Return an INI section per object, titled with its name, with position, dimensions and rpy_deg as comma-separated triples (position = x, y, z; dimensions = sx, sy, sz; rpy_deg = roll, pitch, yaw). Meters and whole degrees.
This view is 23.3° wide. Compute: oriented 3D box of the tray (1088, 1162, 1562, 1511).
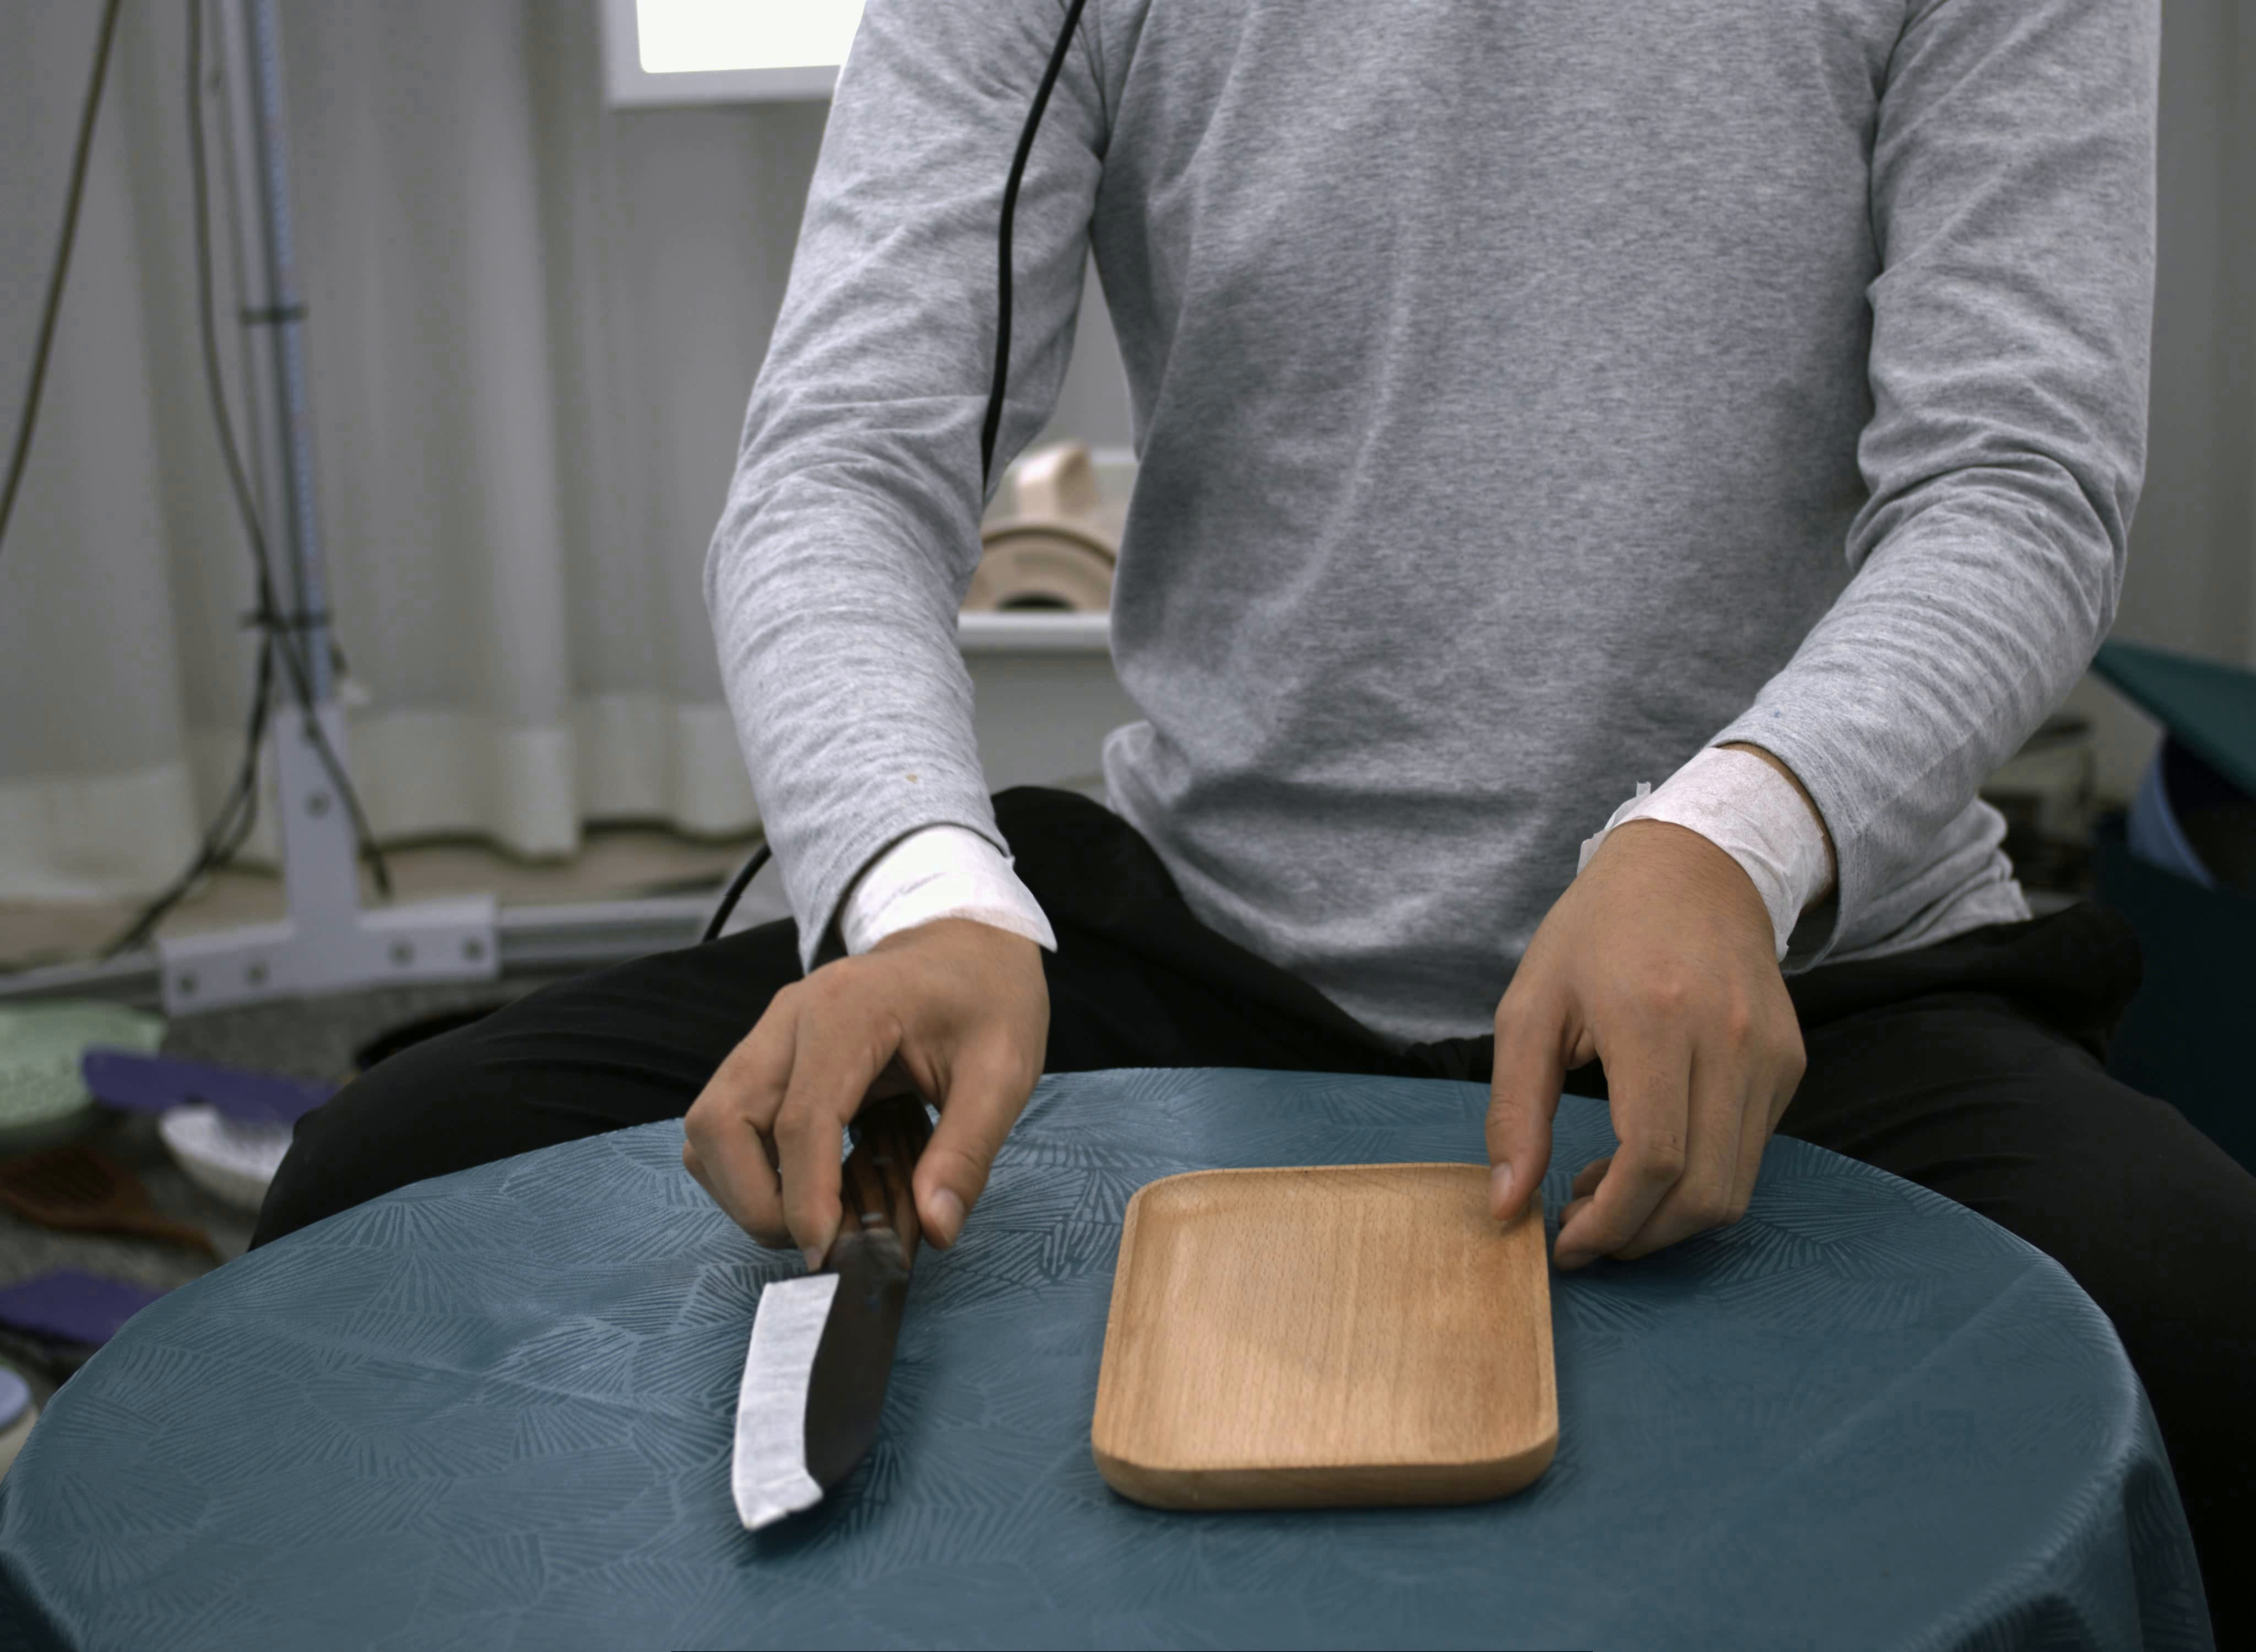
[tray]
position = 0.059, 0.144, 1.567
dimensions = 0.130, 0.023, 0.252
rpy_deg = 1, 14, 4

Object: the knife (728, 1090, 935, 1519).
[knife]
position = -0.084, 0.136, 1.570
dimensions = 0.050, 0.020, 0.291
rpy_deg = -11, 17, 8
